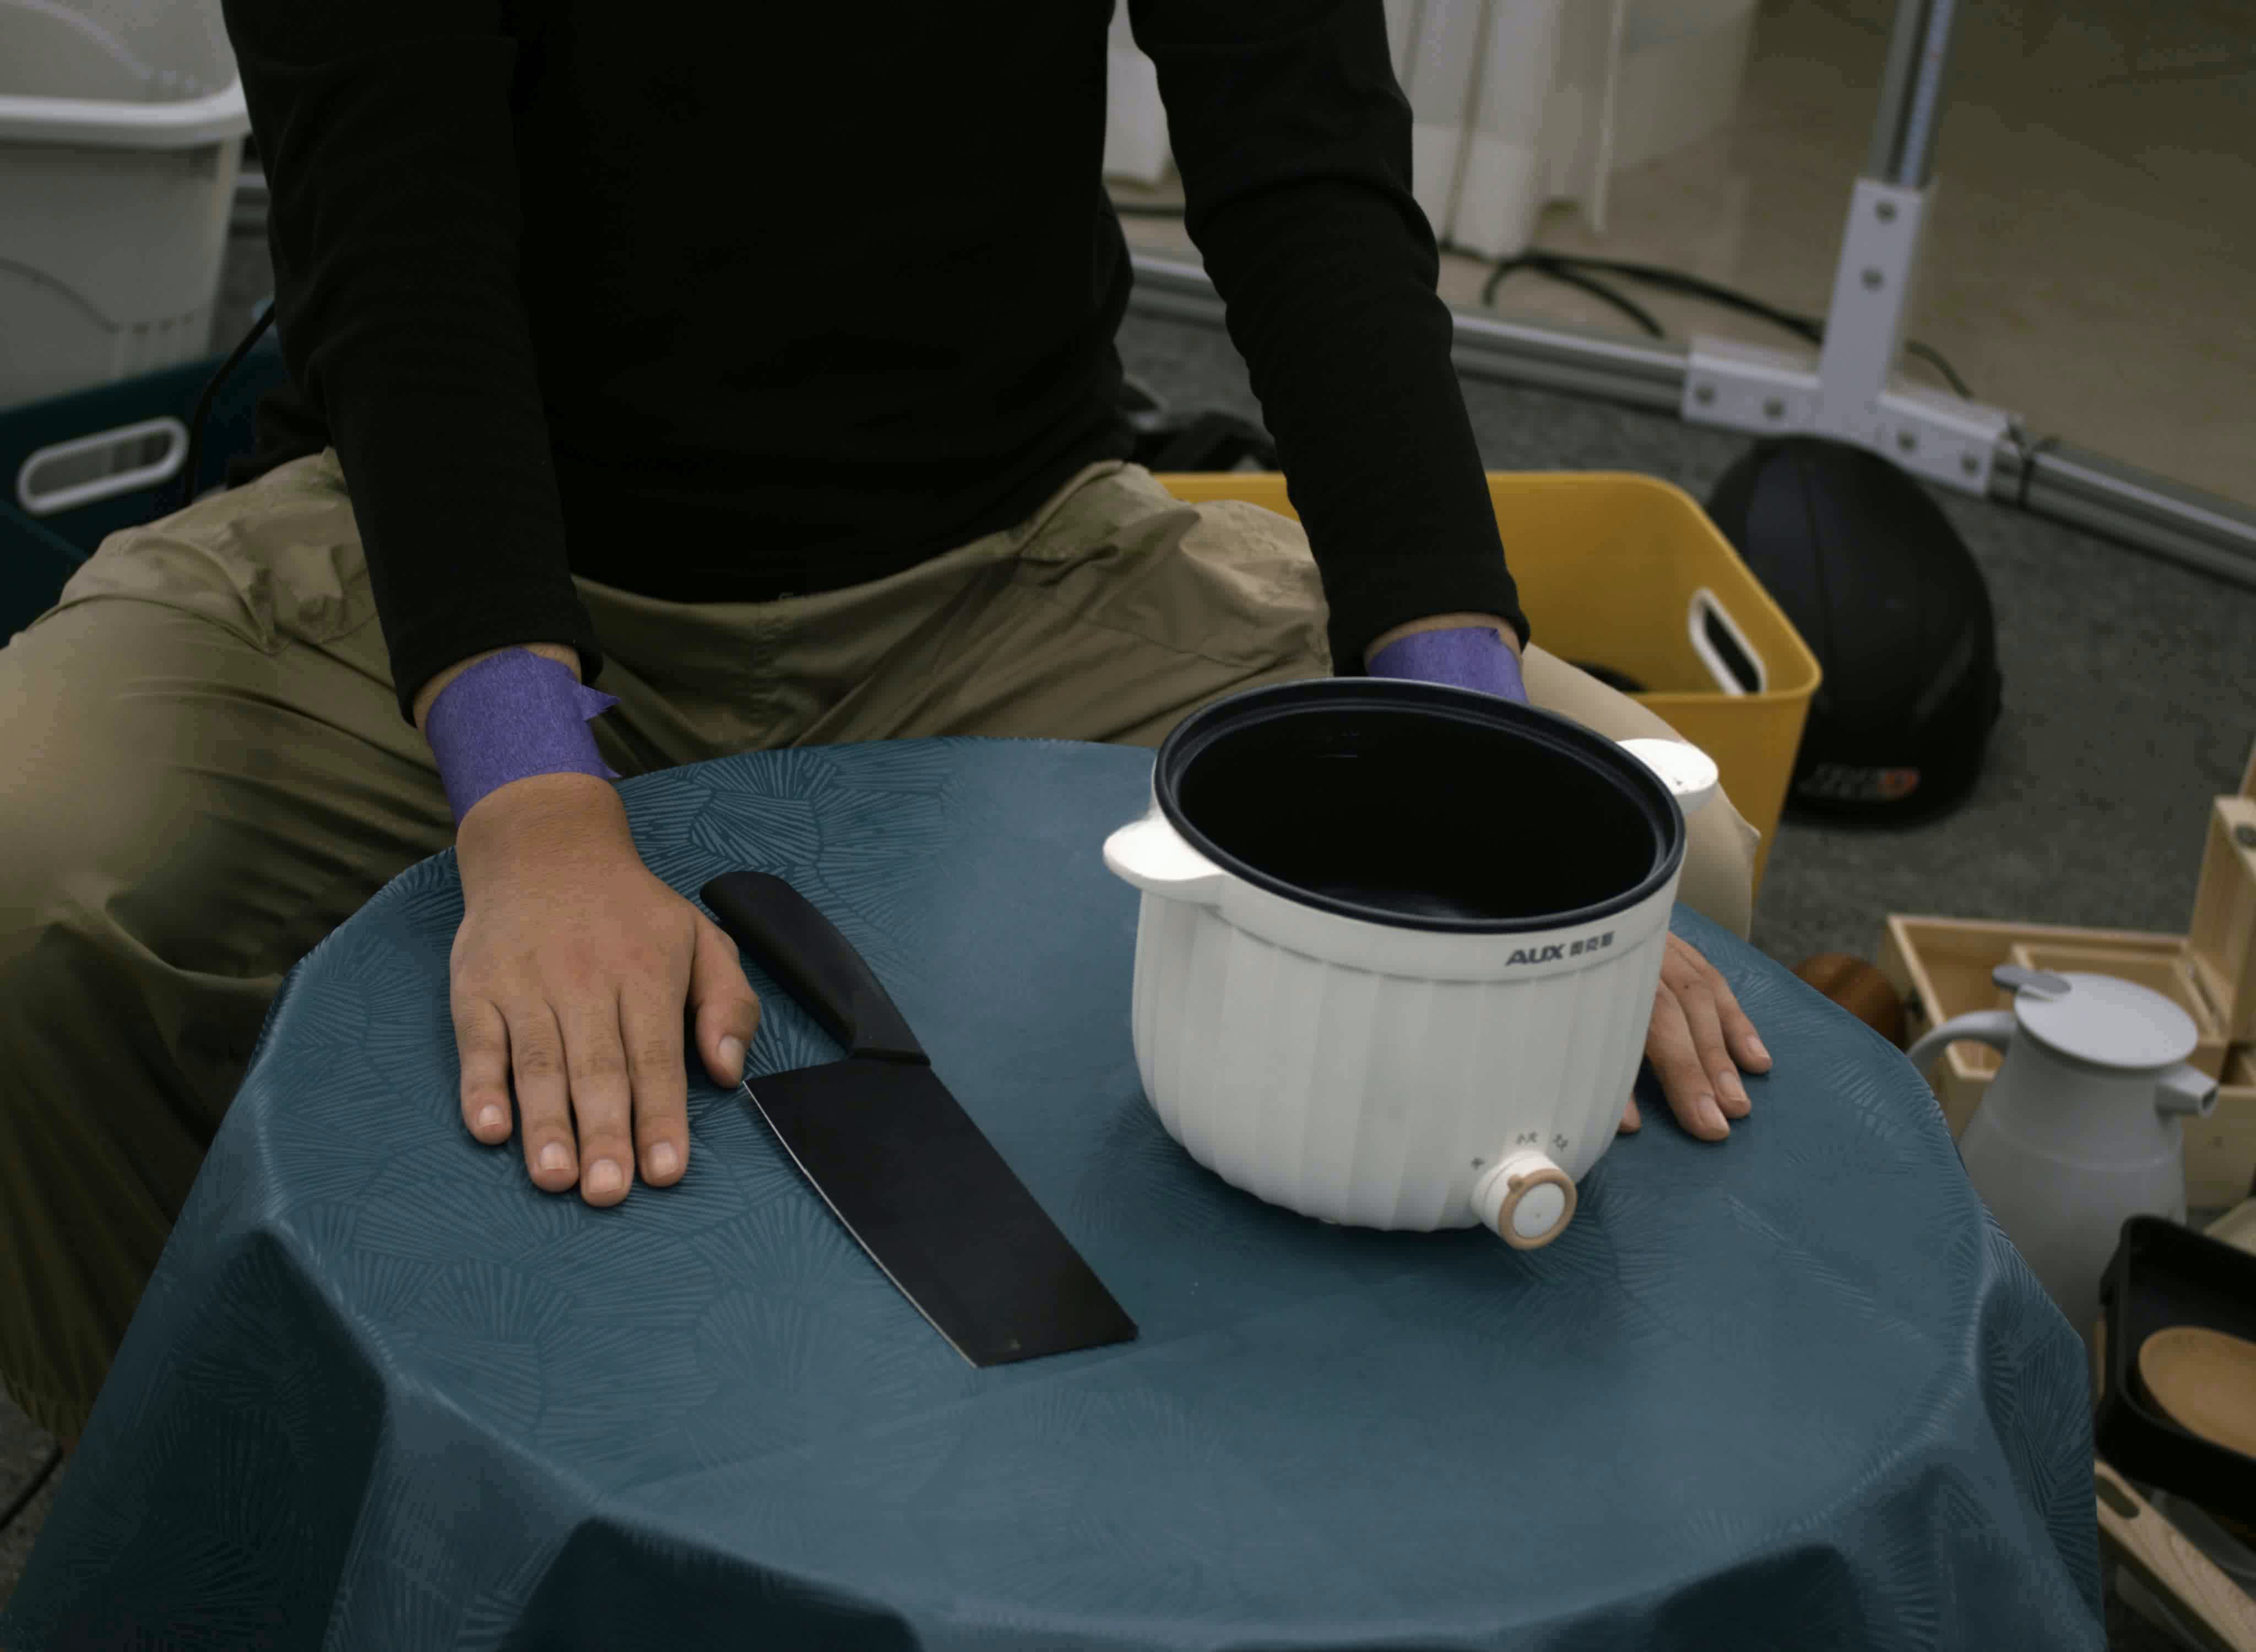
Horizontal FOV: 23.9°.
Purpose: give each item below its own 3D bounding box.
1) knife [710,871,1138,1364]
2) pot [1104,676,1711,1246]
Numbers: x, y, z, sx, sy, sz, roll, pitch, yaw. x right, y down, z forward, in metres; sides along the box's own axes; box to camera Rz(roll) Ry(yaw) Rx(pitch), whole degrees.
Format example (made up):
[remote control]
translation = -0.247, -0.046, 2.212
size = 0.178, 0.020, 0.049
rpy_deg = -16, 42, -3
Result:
[knife]
translation = -0.085, 0.097, 1.824
size = 0.080, 0.021, 0.305
rpy_deg = -6, 31, -21
[pot]
translation = 0.095, 0.050, 1.819
size = 0.239, 0.142, 0.192
rpy_deg = -11, 28, -29
